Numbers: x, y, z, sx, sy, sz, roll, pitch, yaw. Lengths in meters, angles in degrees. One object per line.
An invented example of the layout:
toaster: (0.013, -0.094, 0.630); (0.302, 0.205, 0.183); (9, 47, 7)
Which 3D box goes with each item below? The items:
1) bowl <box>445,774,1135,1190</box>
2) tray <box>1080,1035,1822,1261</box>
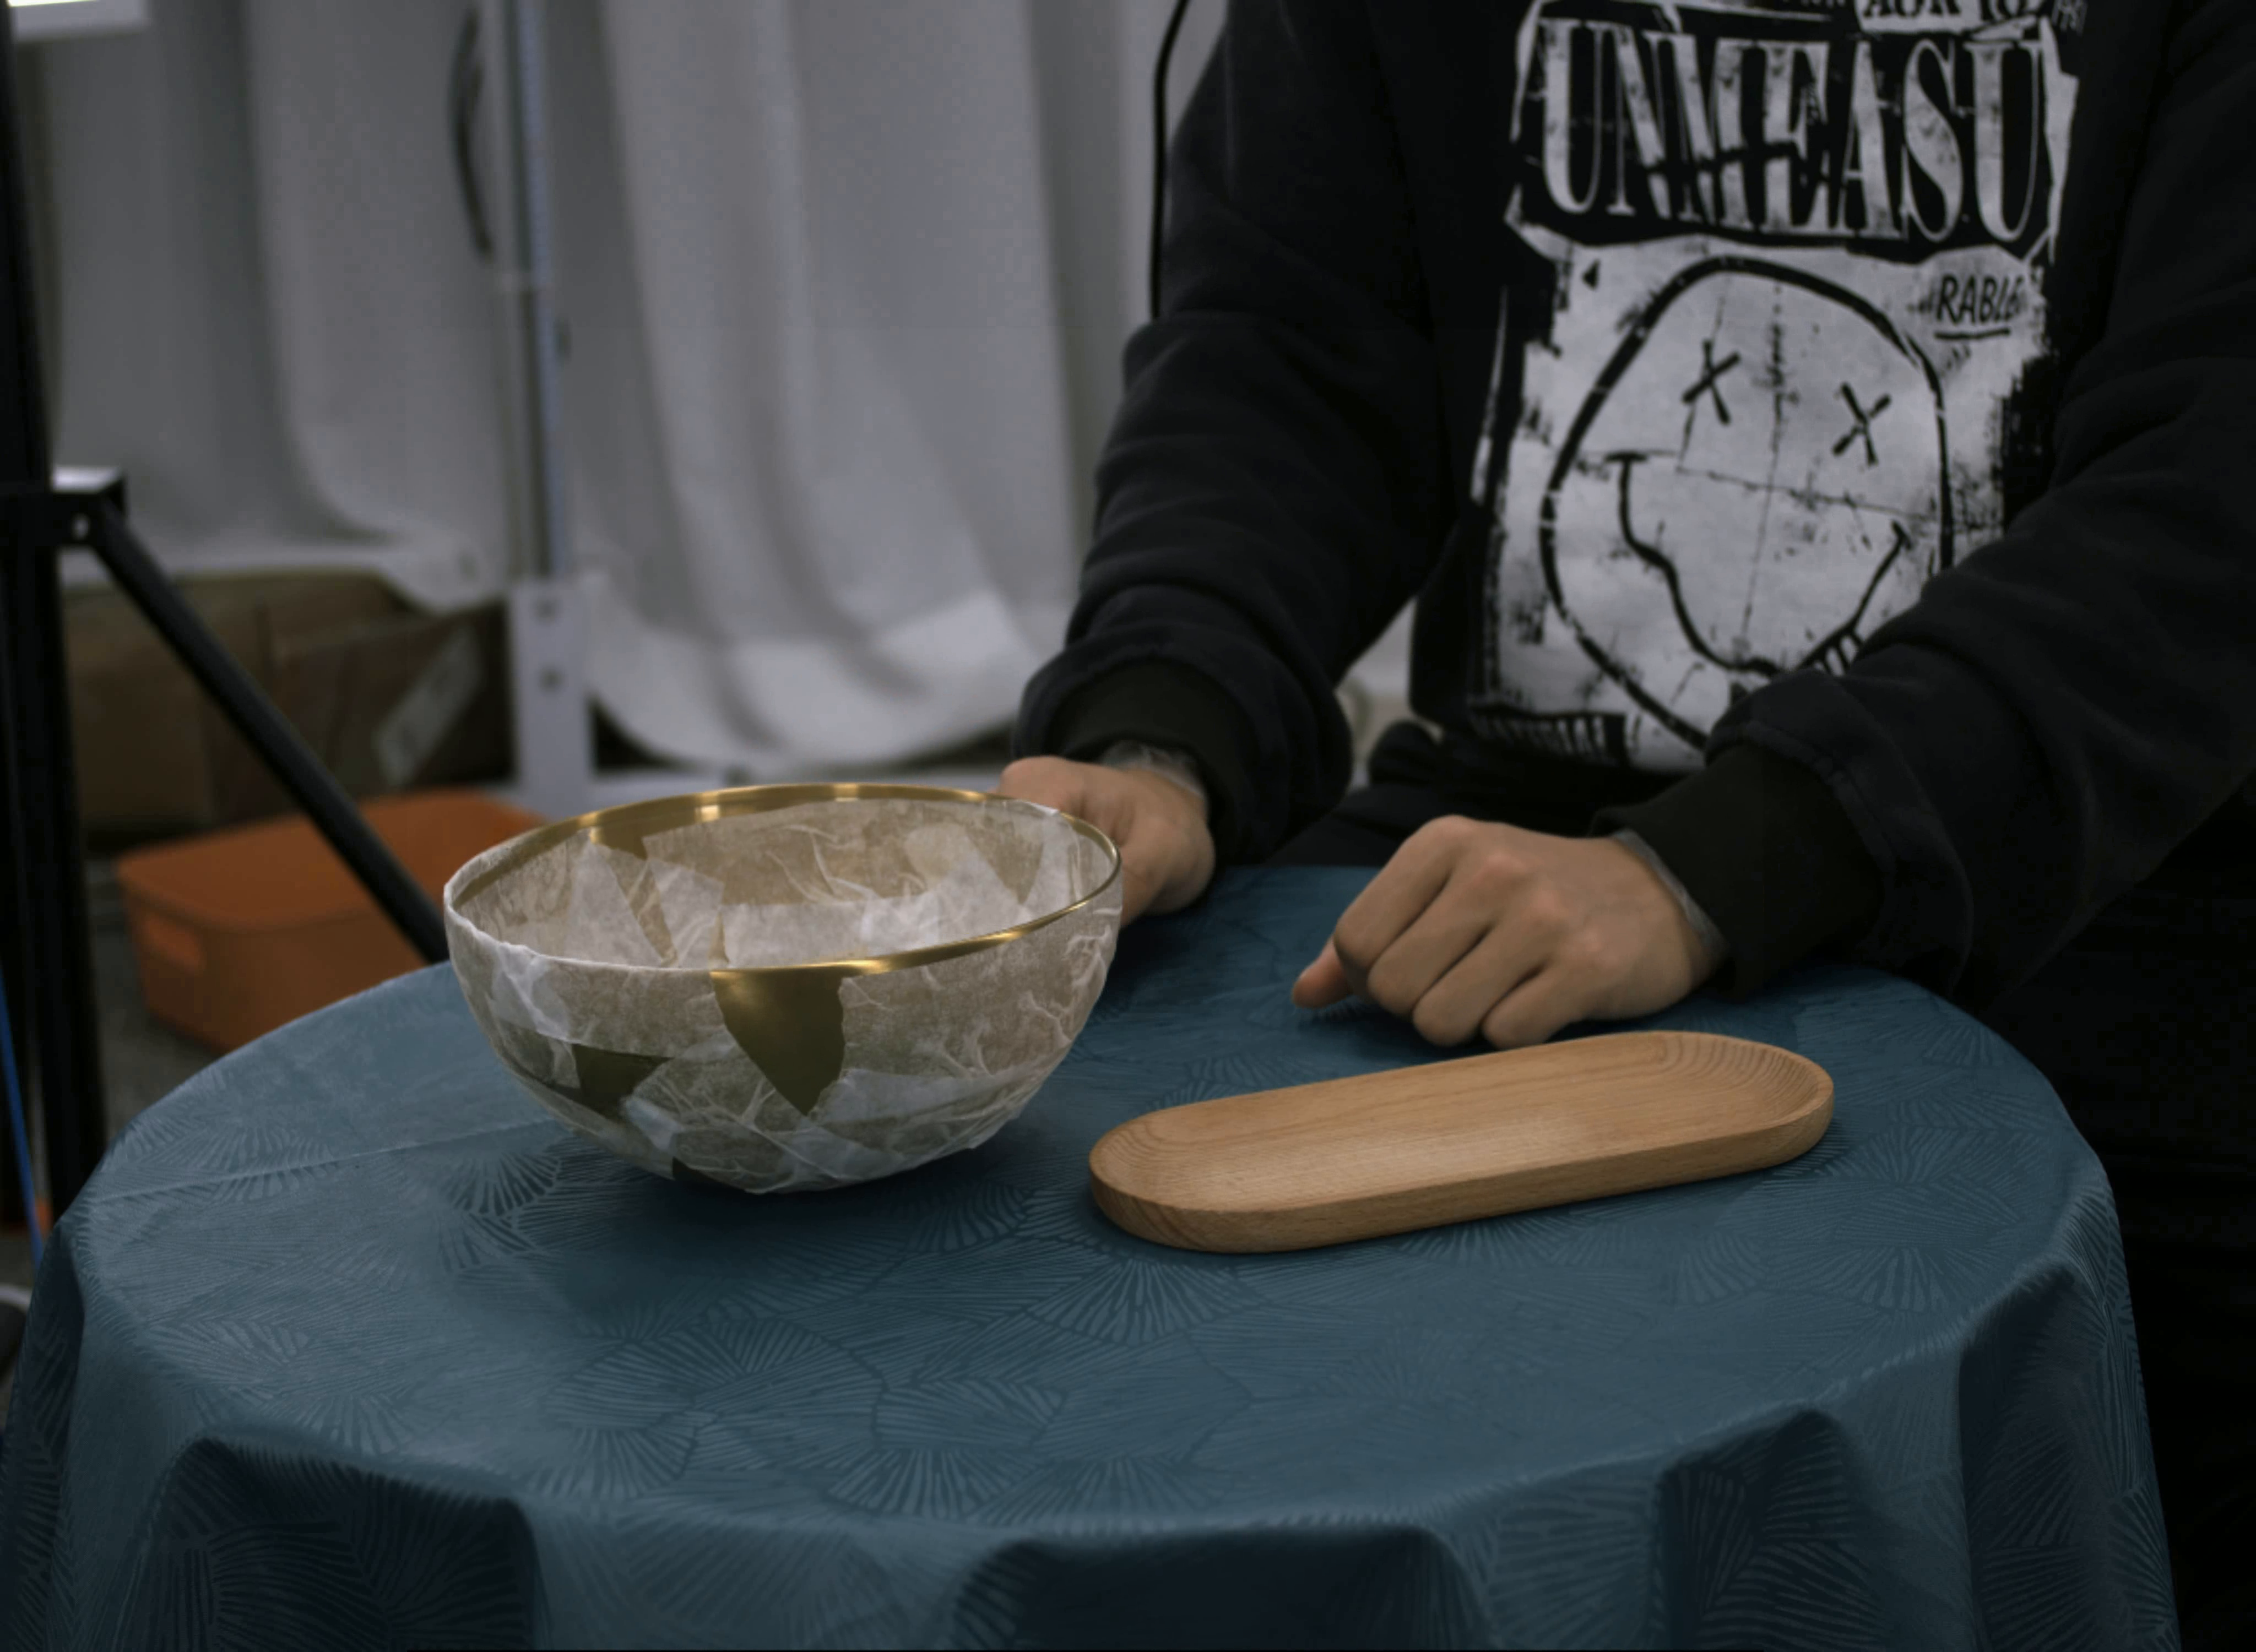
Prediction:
bowl: (-0.096, 0.055, 1.591); (0.213, 0.094, 0.216); (-4, 14, 0)
tray: (0.097, 0.095, 1.562); (0.227, 0.020, 0.103); (-10, 15, -19)
